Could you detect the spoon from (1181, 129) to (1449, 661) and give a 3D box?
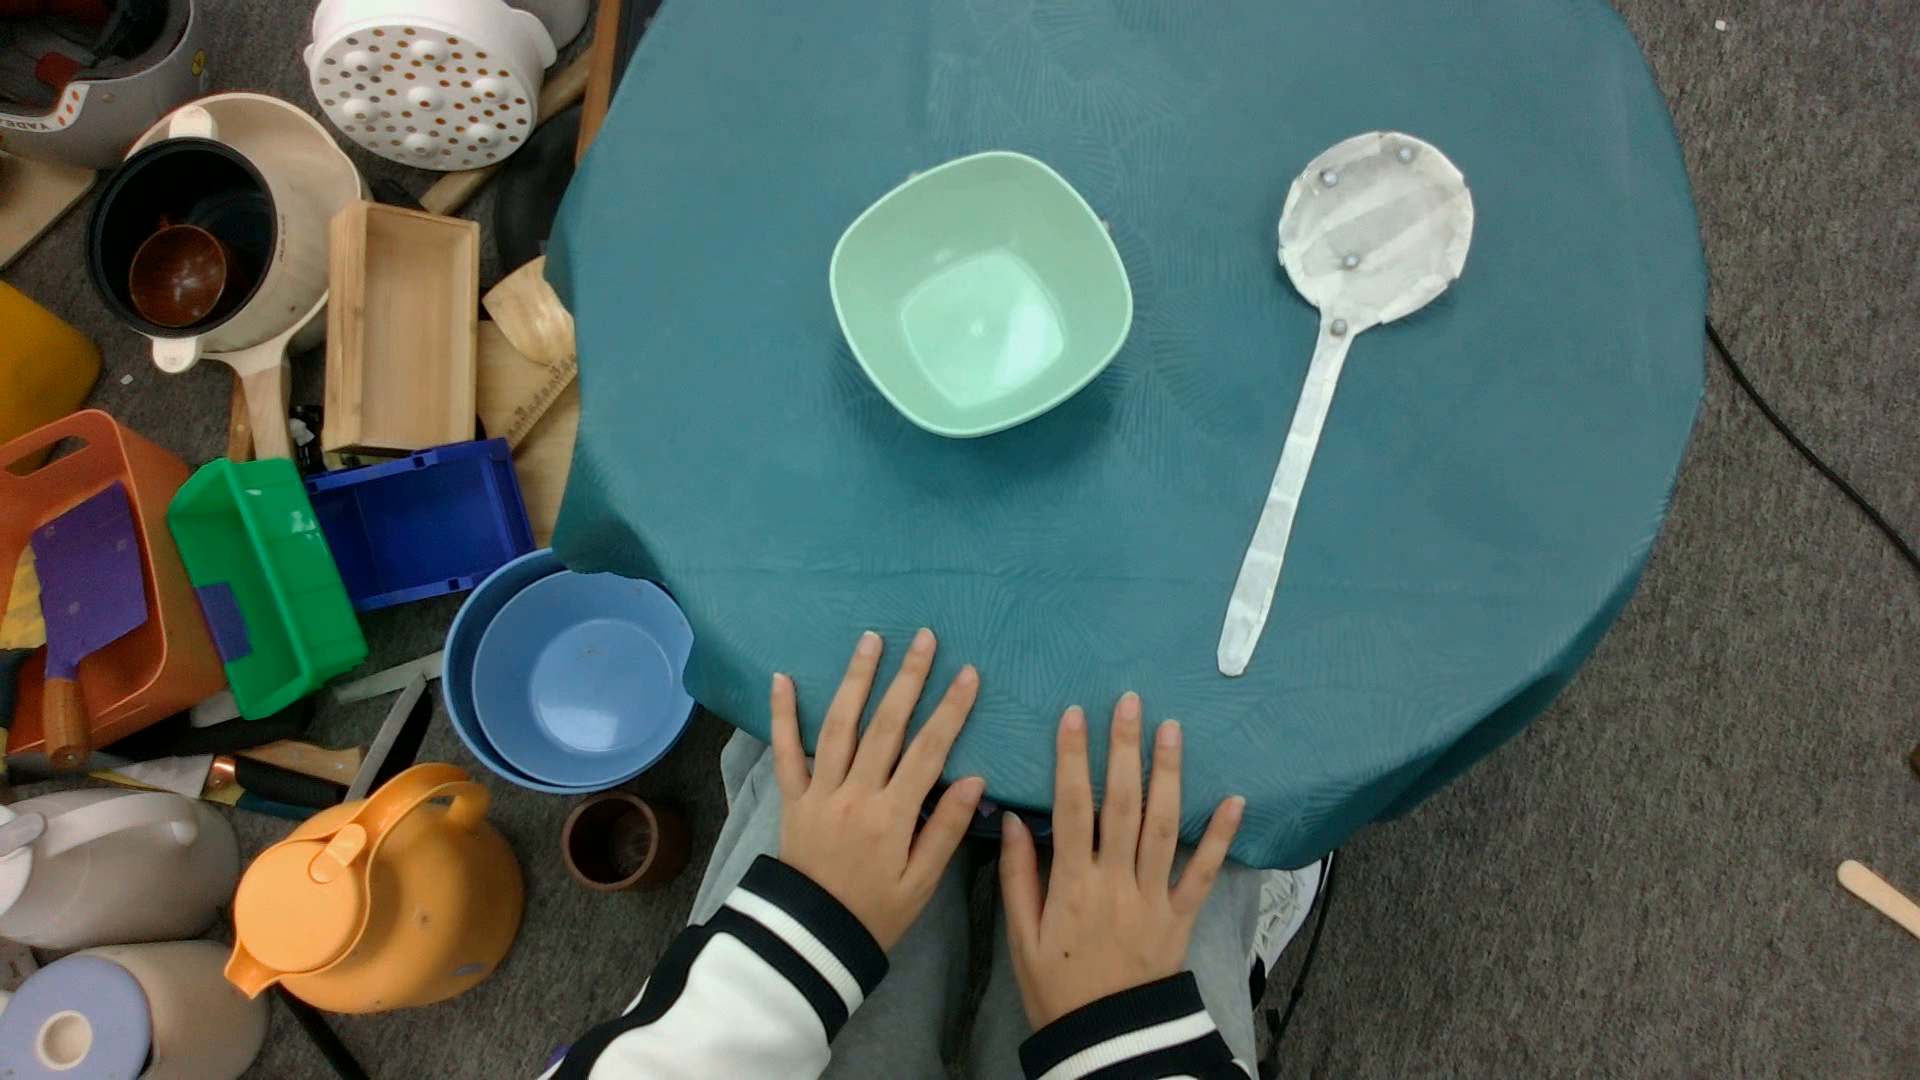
[{"bbox_3d":[0.160,-0.074,0.684,0.100,0.059,0.278,21,77,11],"label":"spoon"}]

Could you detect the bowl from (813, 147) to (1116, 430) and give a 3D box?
[{"bbox_3d":[0.002,-0.119,0.701,0.151,0.058,0.152,0,76,1],"label":"bowl"}]
